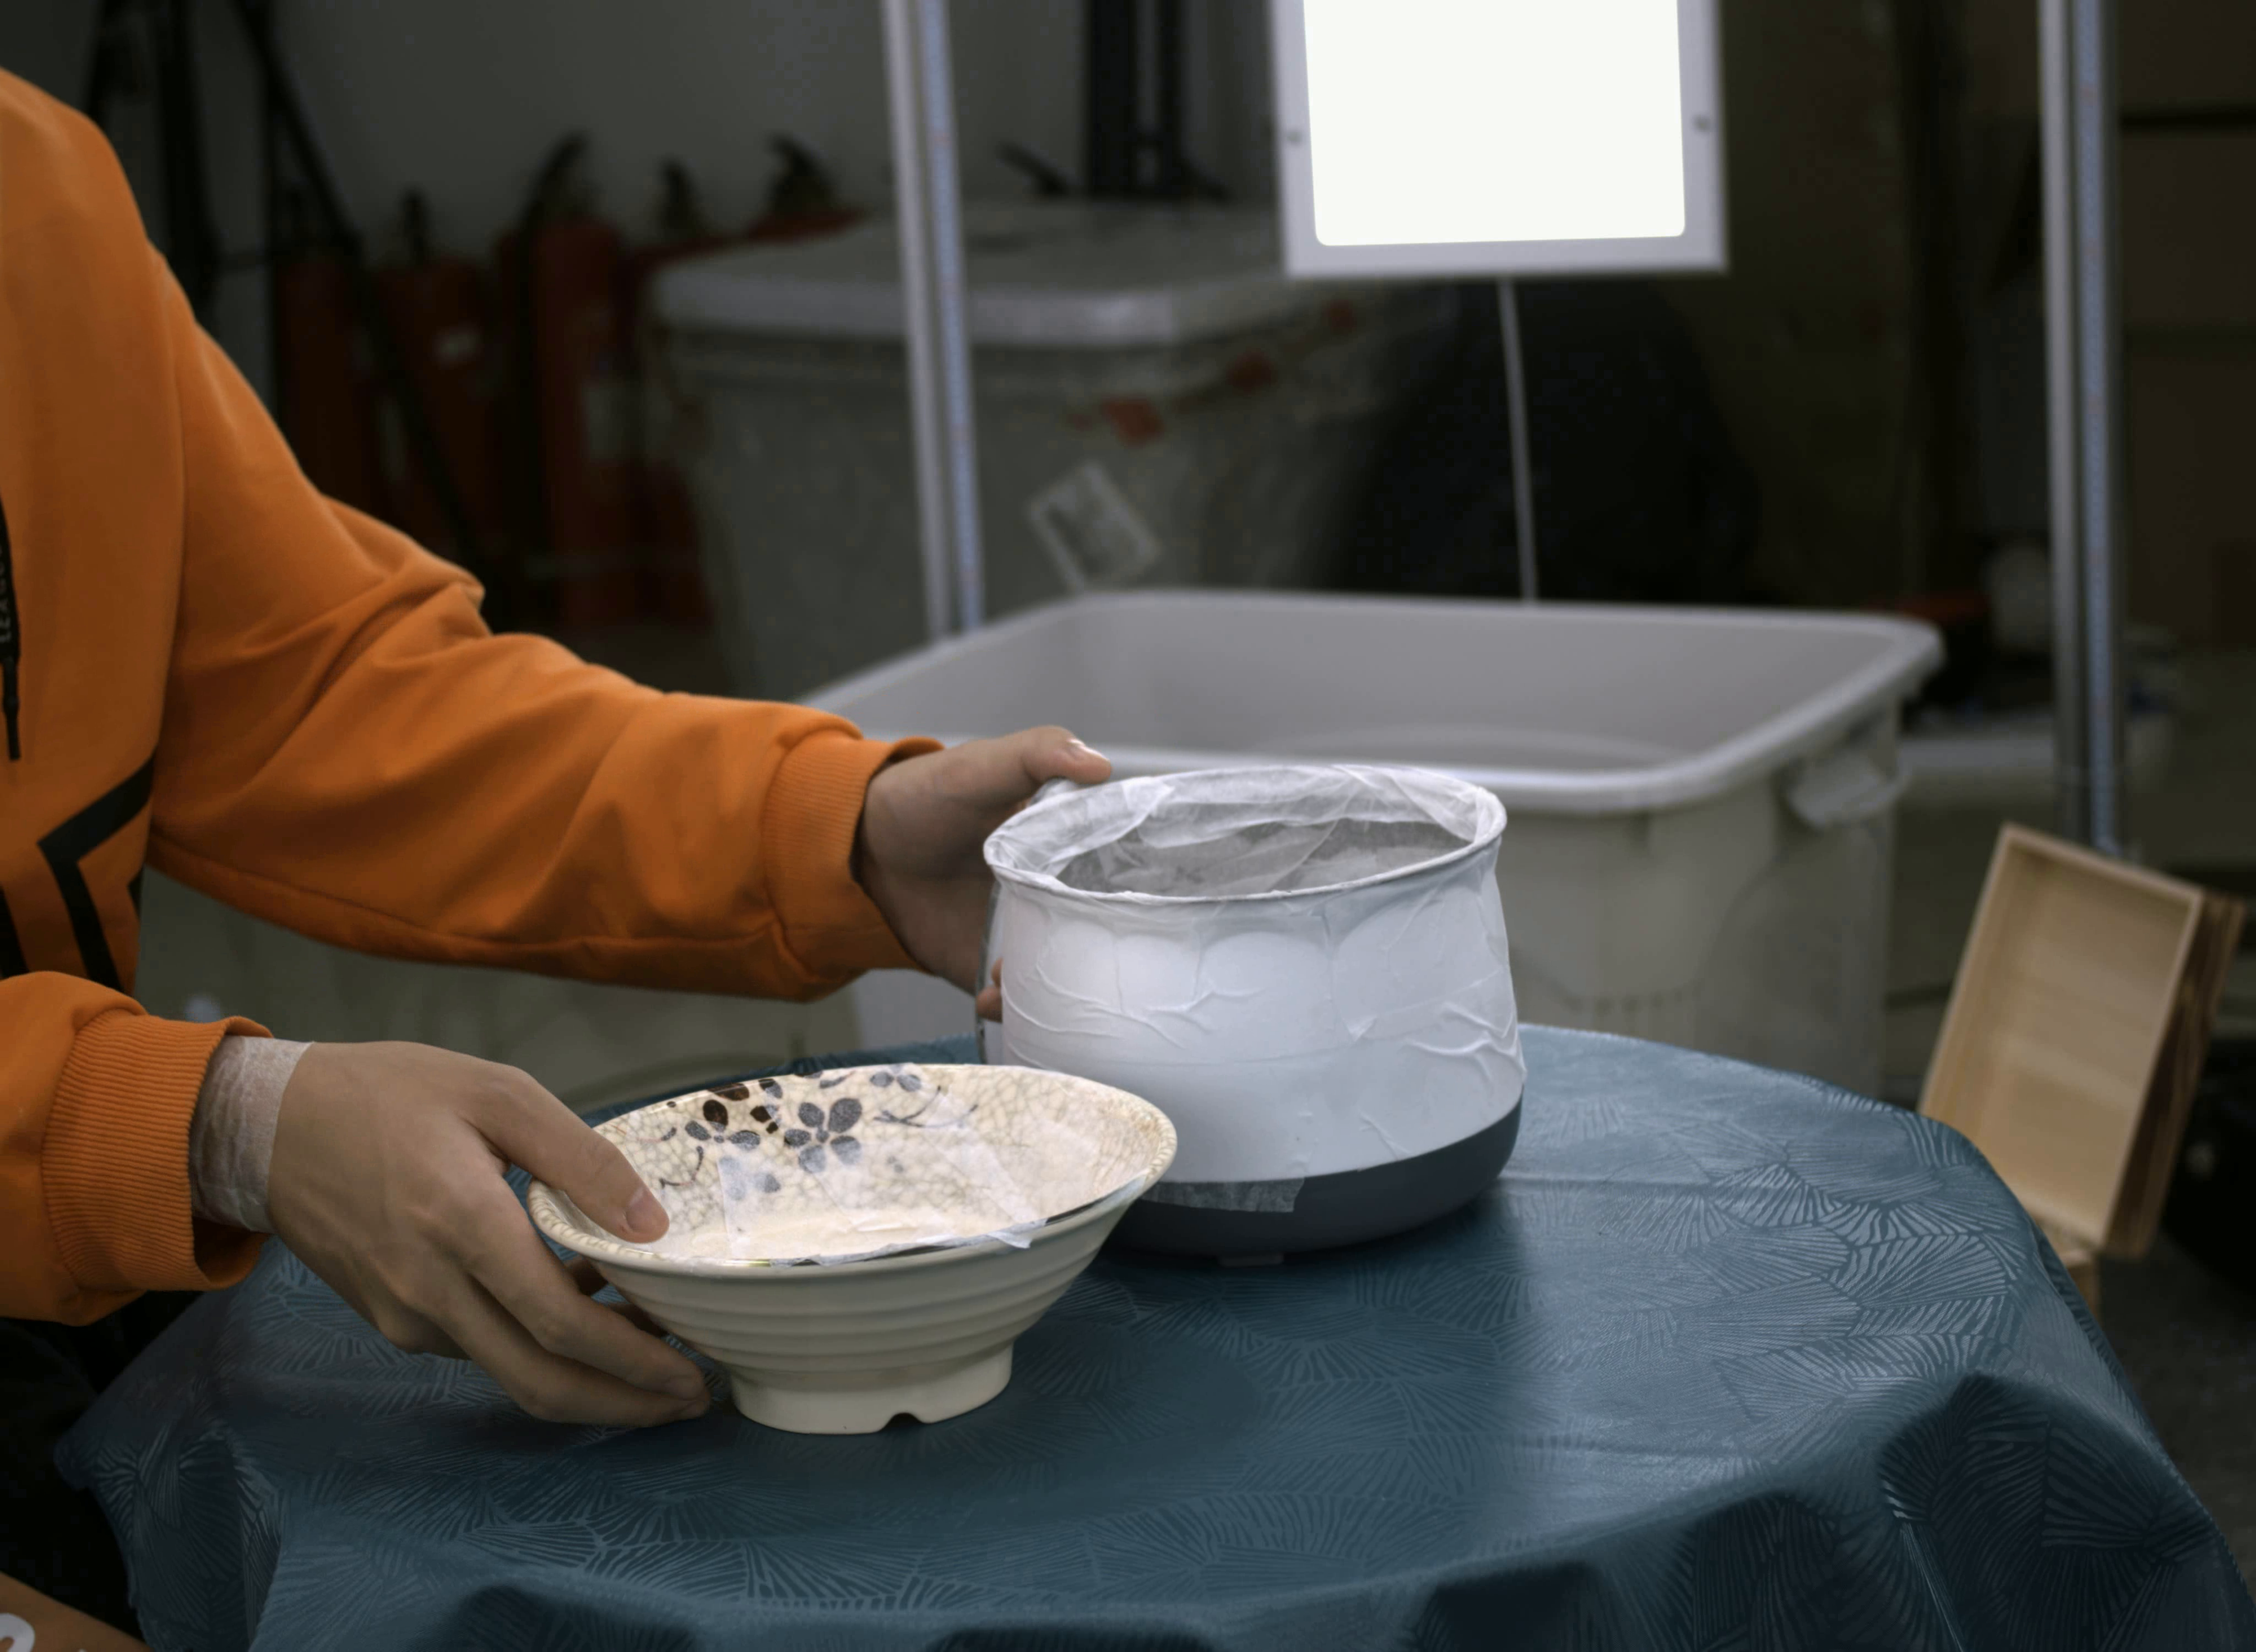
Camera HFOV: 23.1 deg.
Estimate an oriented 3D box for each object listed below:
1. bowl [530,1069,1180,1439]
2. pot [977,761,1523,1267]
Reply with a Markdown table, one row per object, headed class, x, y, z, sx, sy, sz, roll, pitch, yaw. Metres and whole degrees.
| class | x | y | z | sx | sy | sz | roll | pitch | yaw |
| --- | --- | --- | --- | --- | --- | --- | --- | --- | --- |
| bowl | -0.081 | 0.140 | 1.716 | 0.203 | 0.078 | 0.204 | -7 | 13 | 0 |
| pot | 0.026 | 0.058 | 1.879 | 0.174 | 0.137 | 0.238 | -15 | 17 | -37 |
